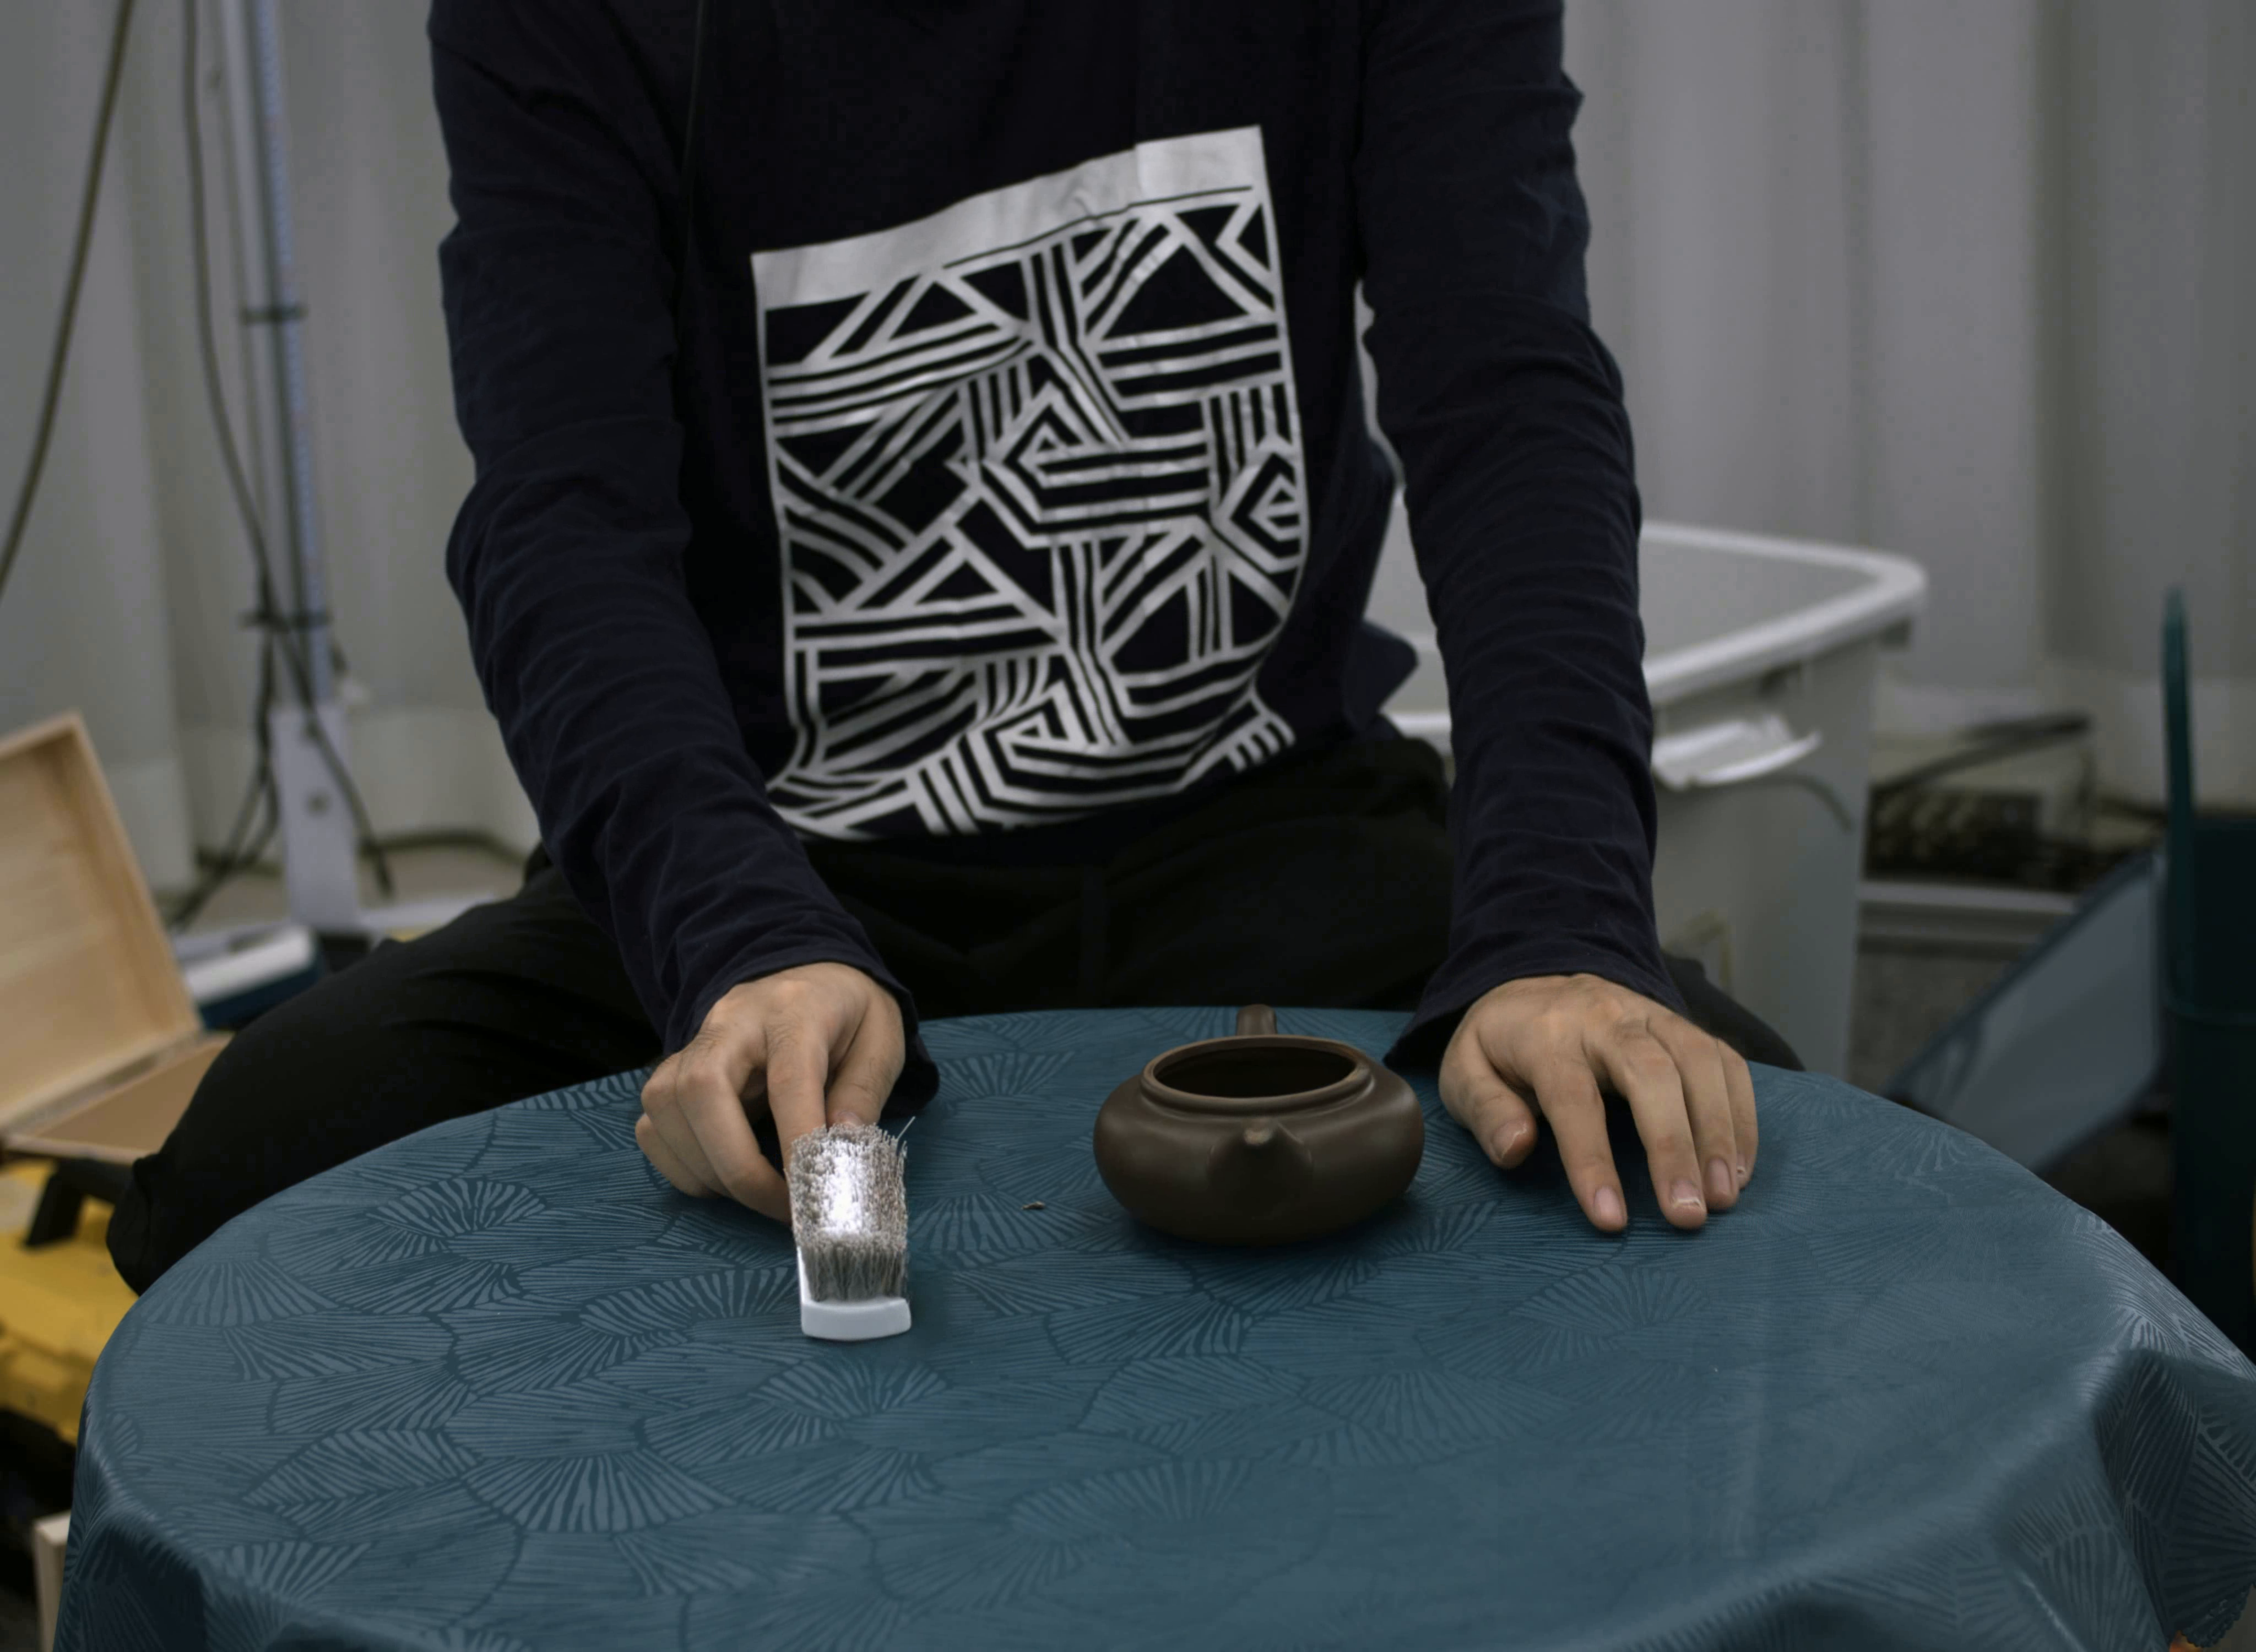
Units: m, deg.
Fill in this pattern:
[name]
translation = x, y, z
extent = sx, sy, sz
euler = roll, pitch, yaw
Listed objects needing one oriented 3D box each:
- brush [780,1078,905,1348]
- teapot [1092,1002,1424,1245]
[brush]
translation = -0.085, 0.100, 1.696
extent = 0.034, 0.050, 0.245
euler = -5, 15, 0
[teapot]
translation = 0.039, 0.093, 1.685
extent = 0.102, 0.053, 0.154
euler = -4, 15, -4
